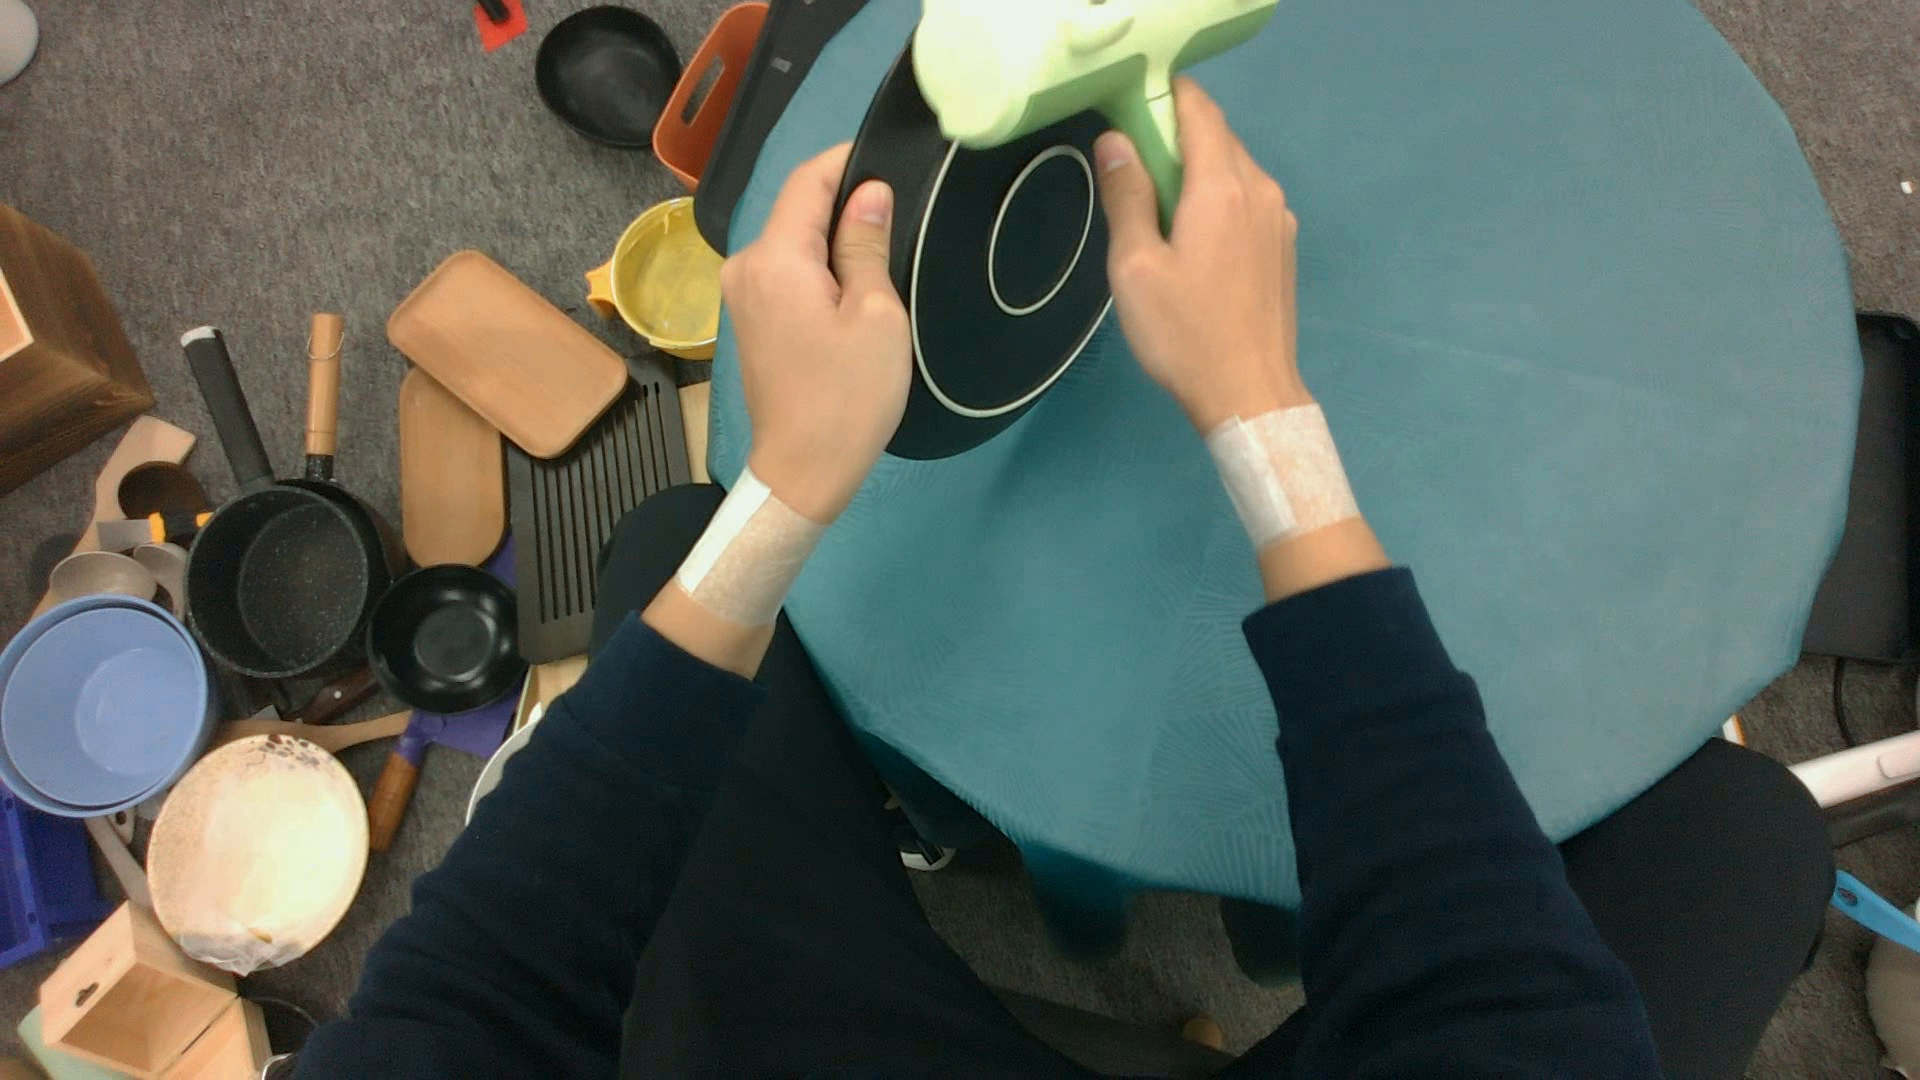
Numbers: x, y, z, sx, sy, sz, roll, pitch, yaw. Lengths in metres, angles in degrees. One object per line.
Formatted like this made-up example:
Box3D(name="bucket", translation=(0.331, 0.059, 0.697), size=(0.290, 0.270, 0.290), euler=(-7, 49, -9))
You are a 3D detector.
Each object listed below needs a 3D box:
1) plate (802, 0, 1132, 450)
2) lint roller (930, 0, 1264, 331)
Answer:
Box3D(name="plate", translation=(0.020, -0.151, 0.630), size=(0.023, 0.244, 0.245), euler=(27, 80, 29))
Box3D(name="lint roller", translation=(0.094, -0.181, 0.572), size=(0.199, 0.082, 0.183), euler=(-33, 98, -43))
